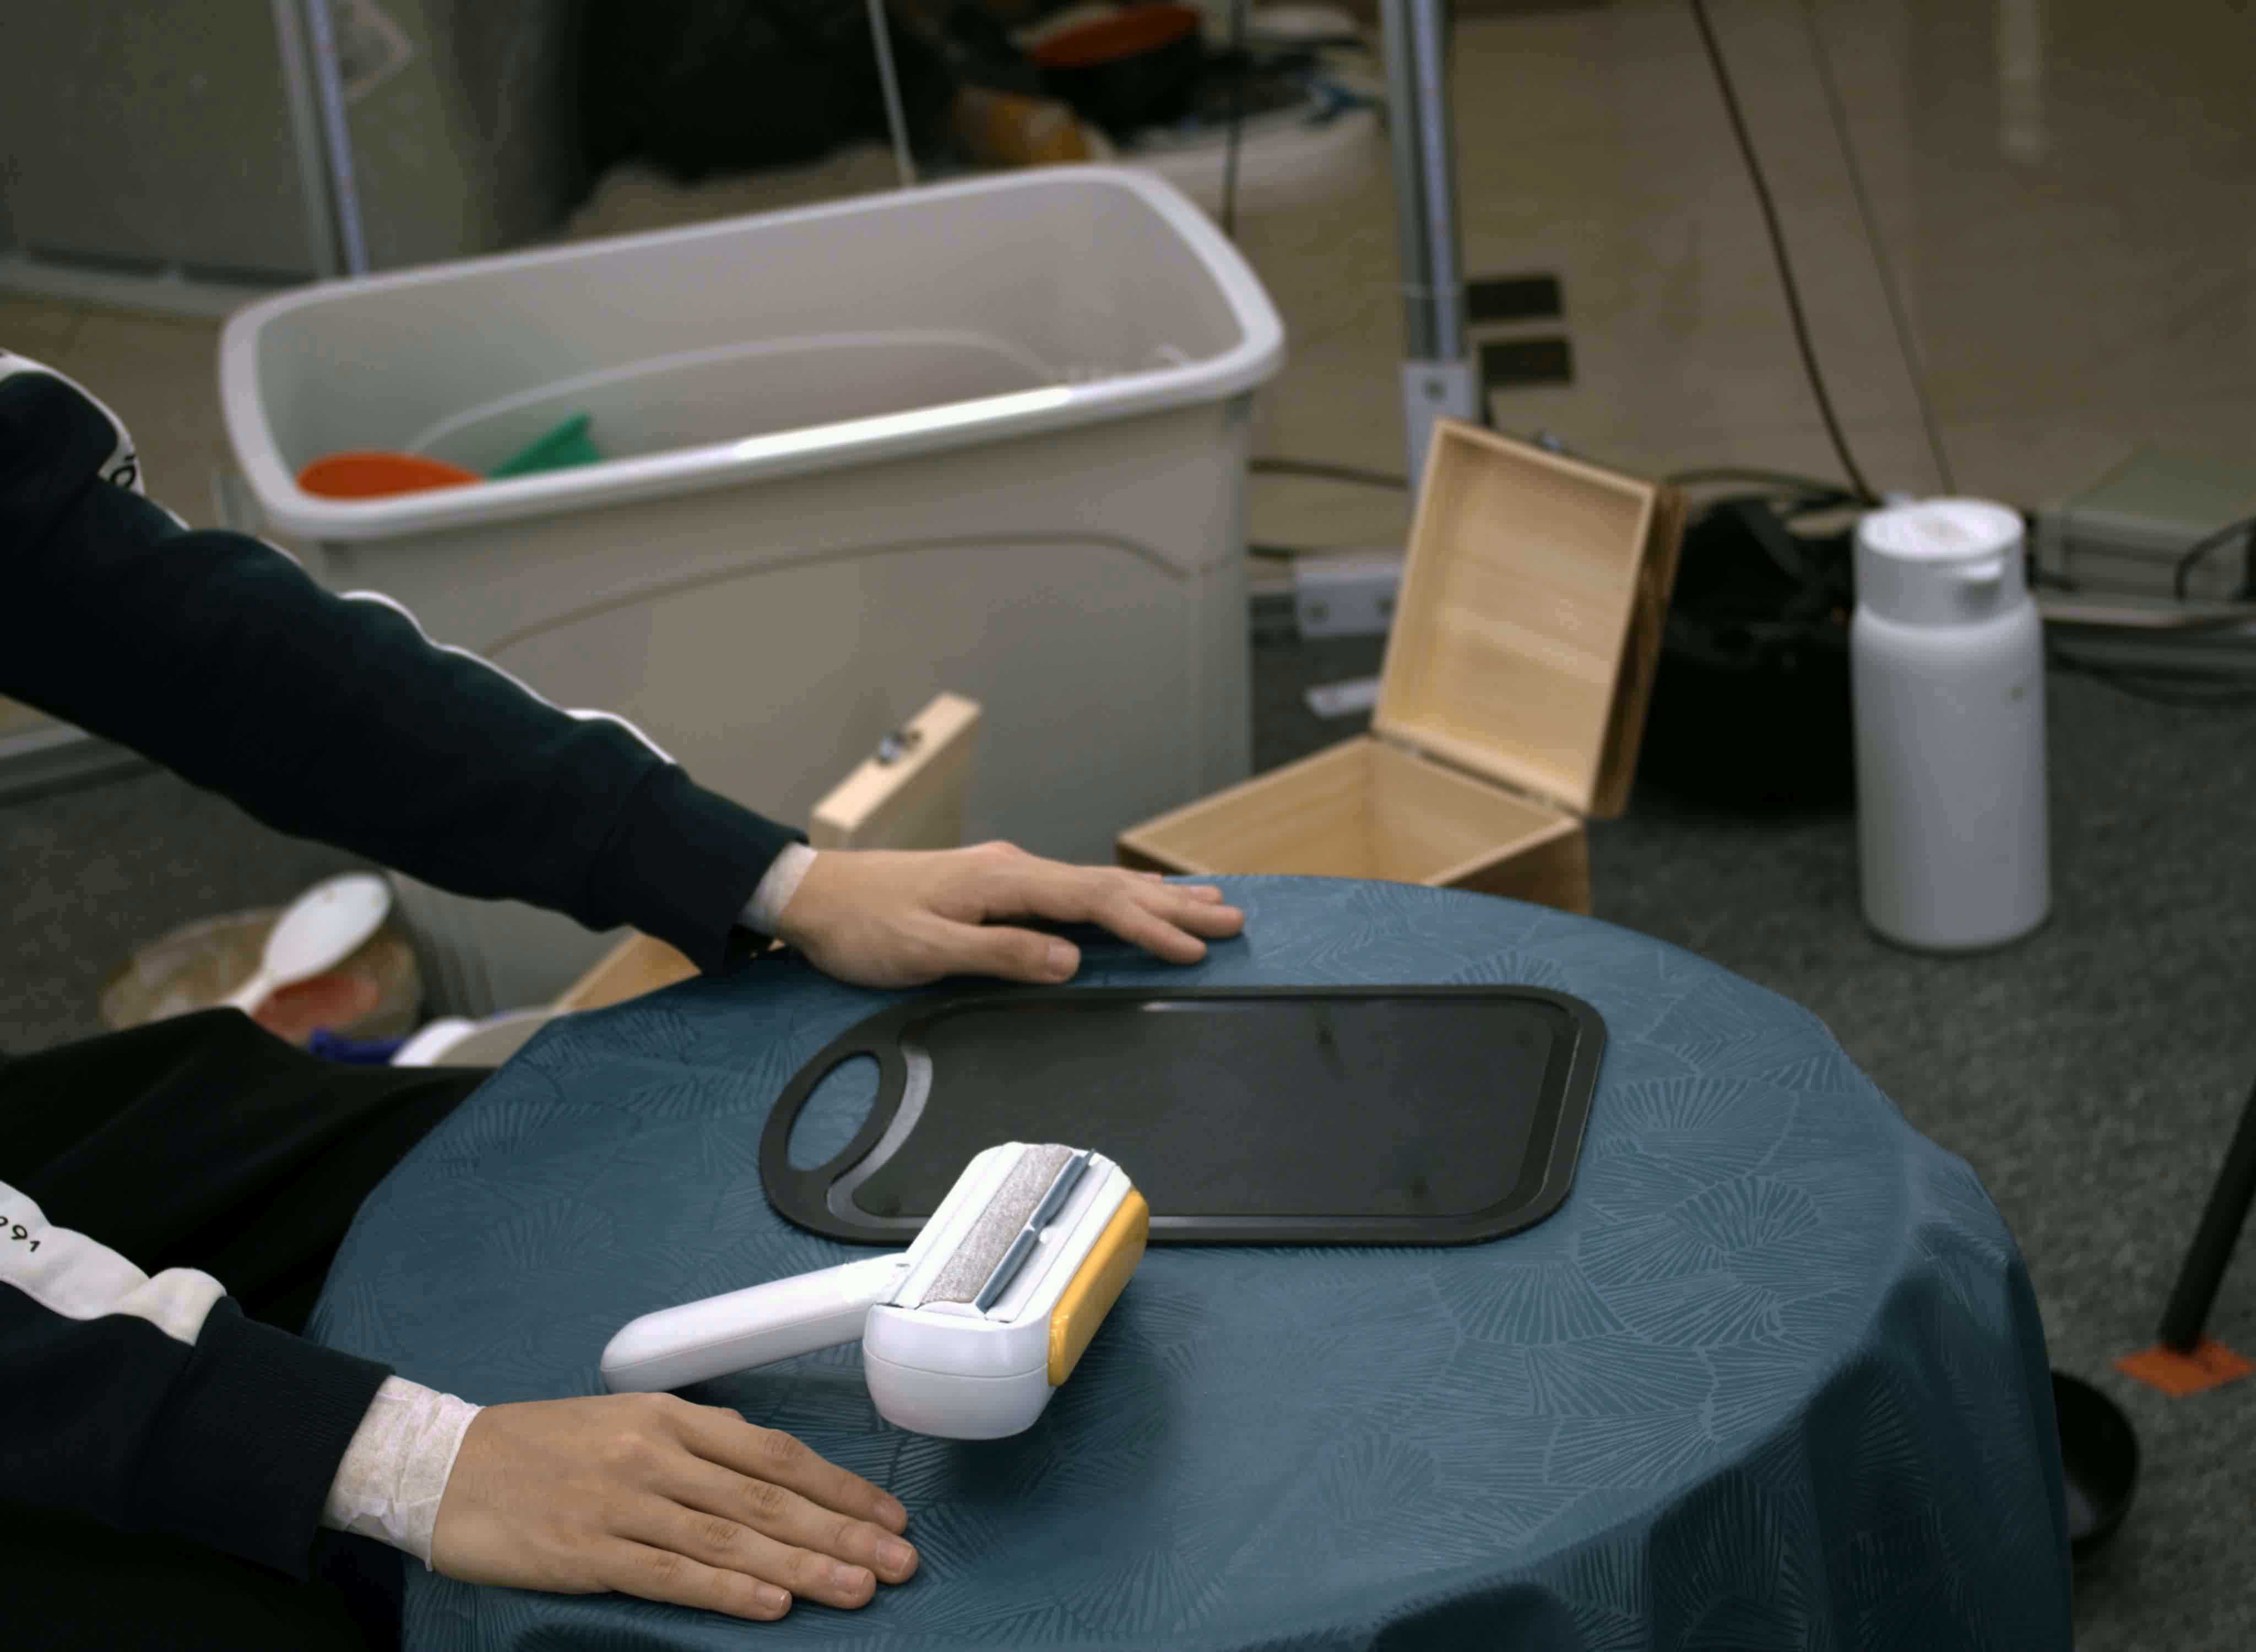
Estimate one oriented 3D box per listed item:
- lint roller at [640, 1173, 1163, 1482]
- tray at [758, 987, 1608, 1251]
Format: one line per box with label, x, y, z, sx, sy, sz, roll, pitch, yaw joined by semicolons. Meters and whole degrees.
lint roller;-0.094;0.189;2.024;0.192;0.075;0.191;-13;14;23
tray;0.018;0.110;2.195;0.325;0.010;0.208;-1;25;13
